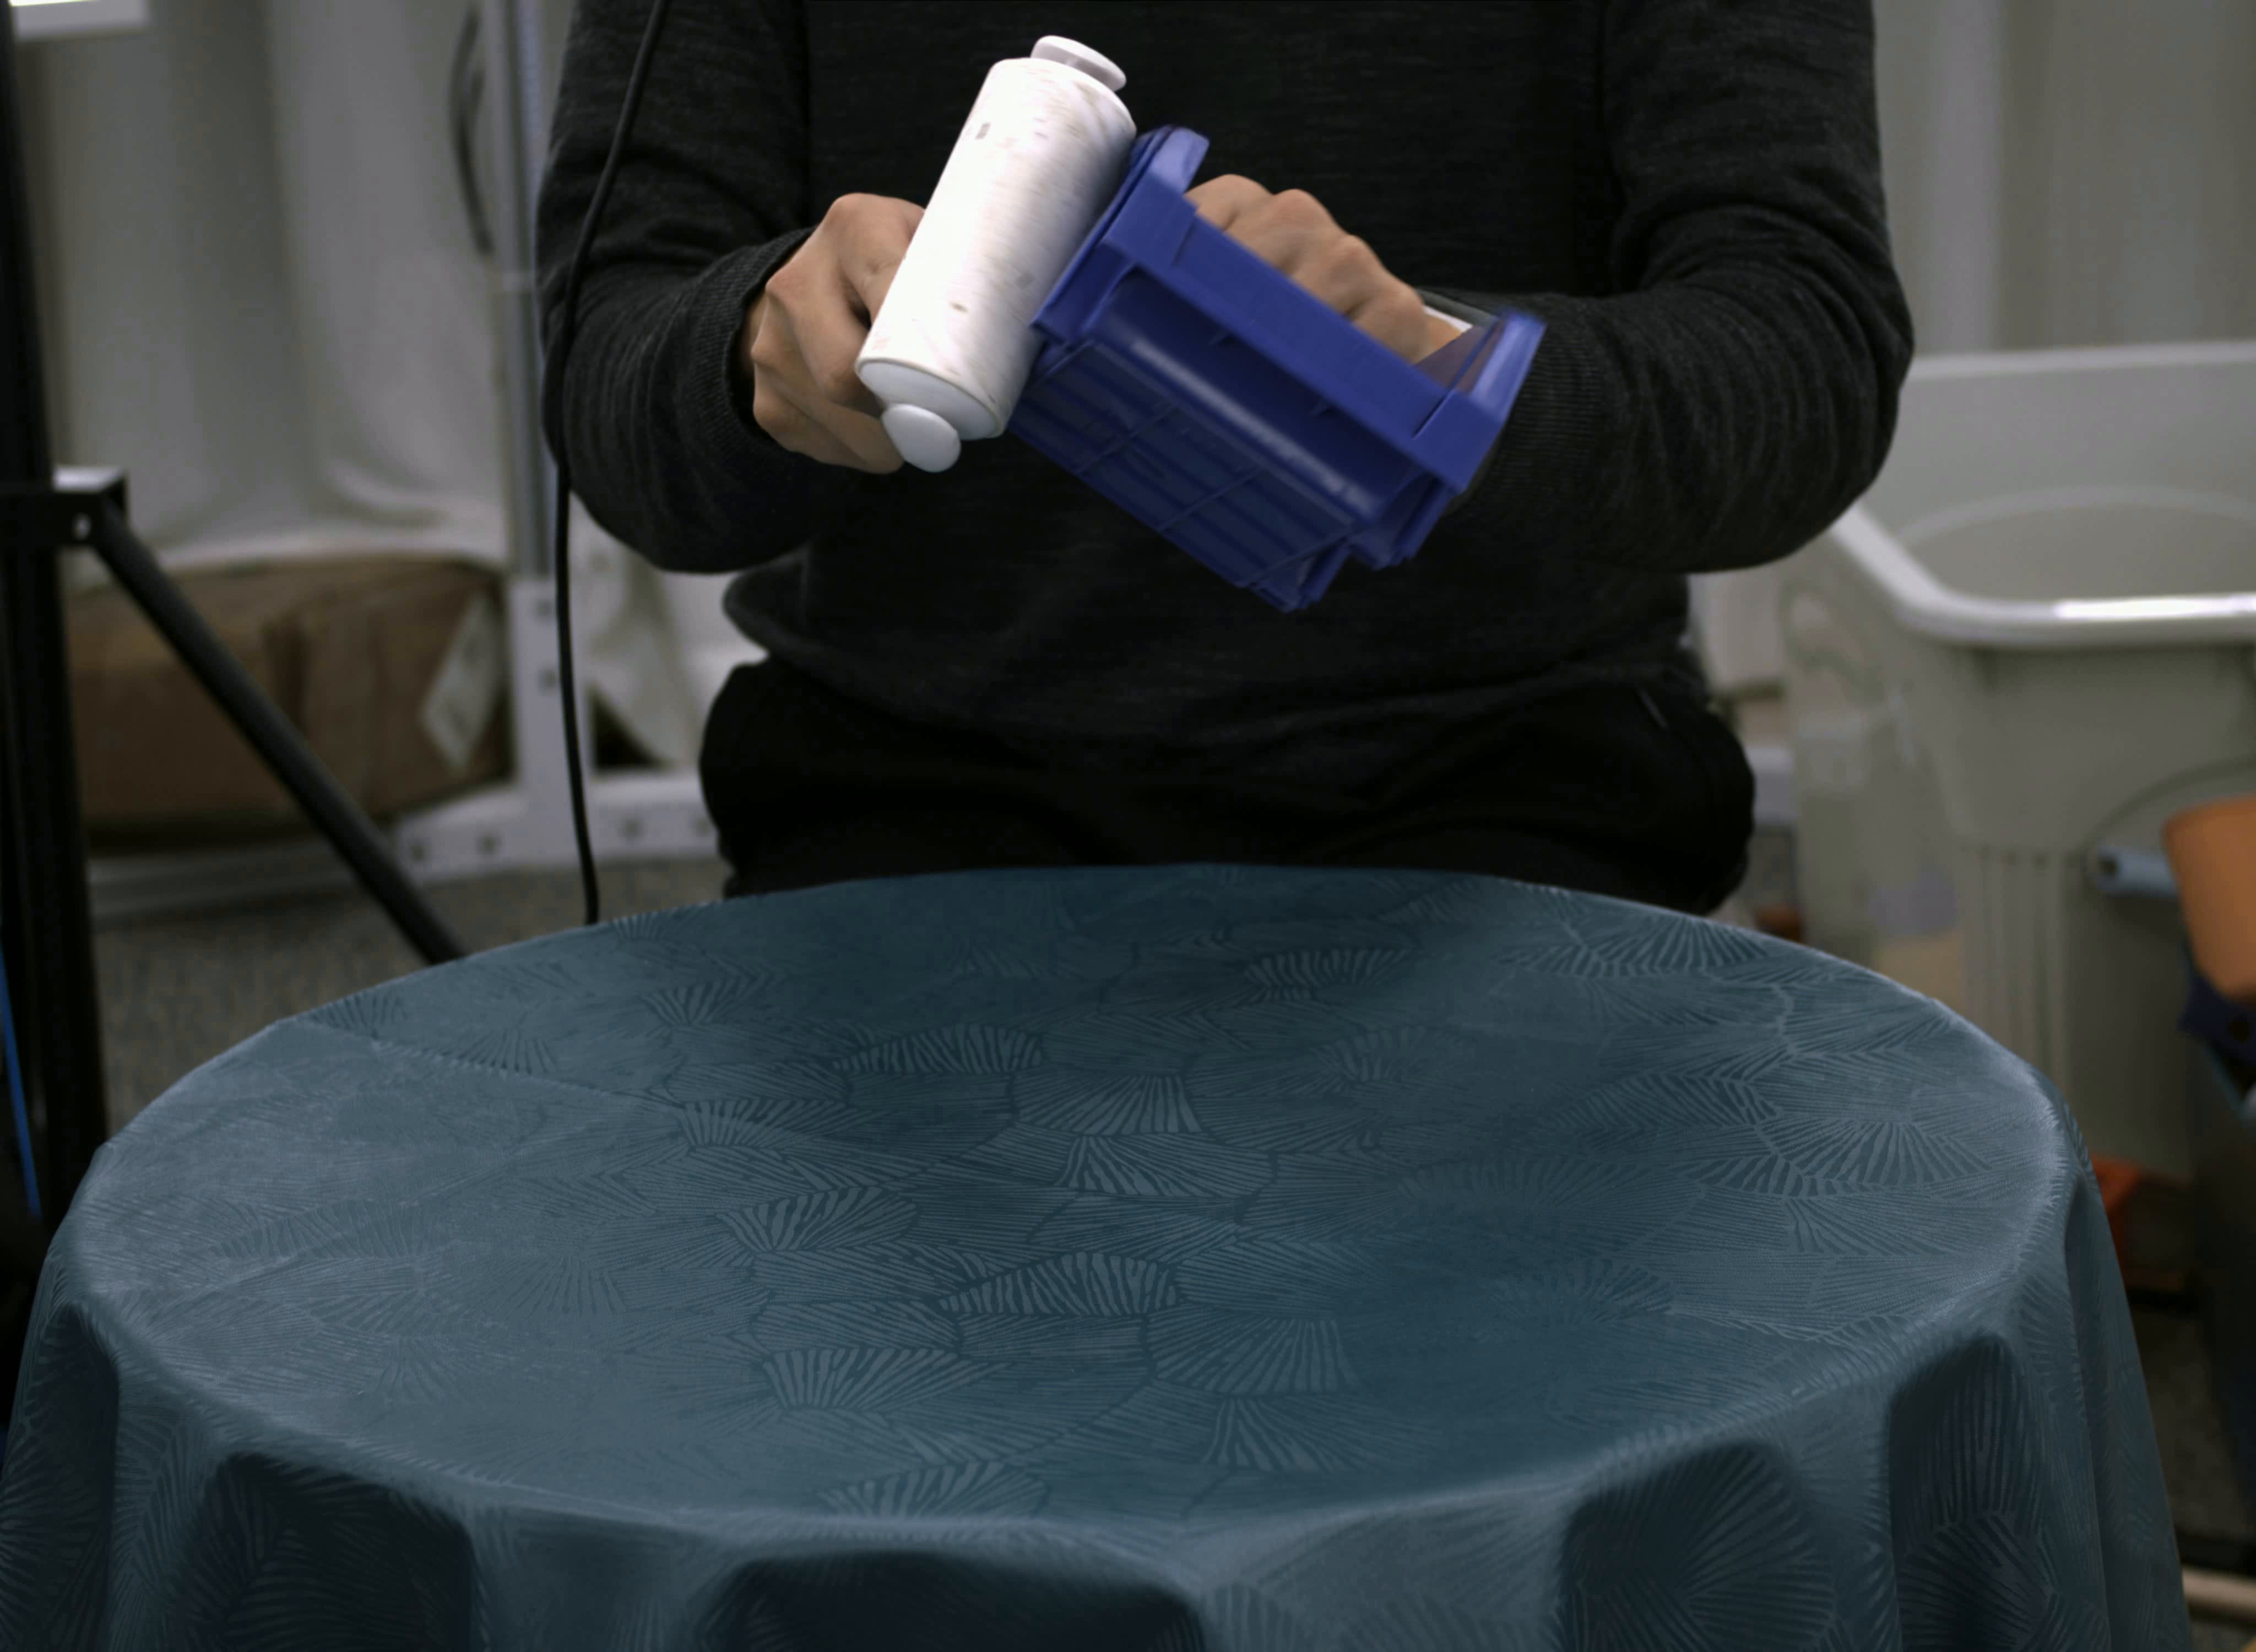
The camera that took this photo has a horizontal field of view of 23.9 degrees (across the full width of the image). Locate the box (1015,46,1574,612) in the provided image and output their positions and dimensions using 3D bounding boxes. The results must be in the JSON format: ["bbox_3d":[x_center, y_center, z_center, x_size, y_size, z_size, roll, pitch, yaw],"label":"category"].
[{"bbox_3d":[0.043,-0.137,1.505,0.124,0.082,0.180,35,-15,-5],"label":"box"}]

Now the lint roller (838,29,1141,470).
[{"bbox_3d":[-0.062,-0.162,1.590,0.049,0.133,0.183,28,-14,-20],"label":"lint roller"}]
